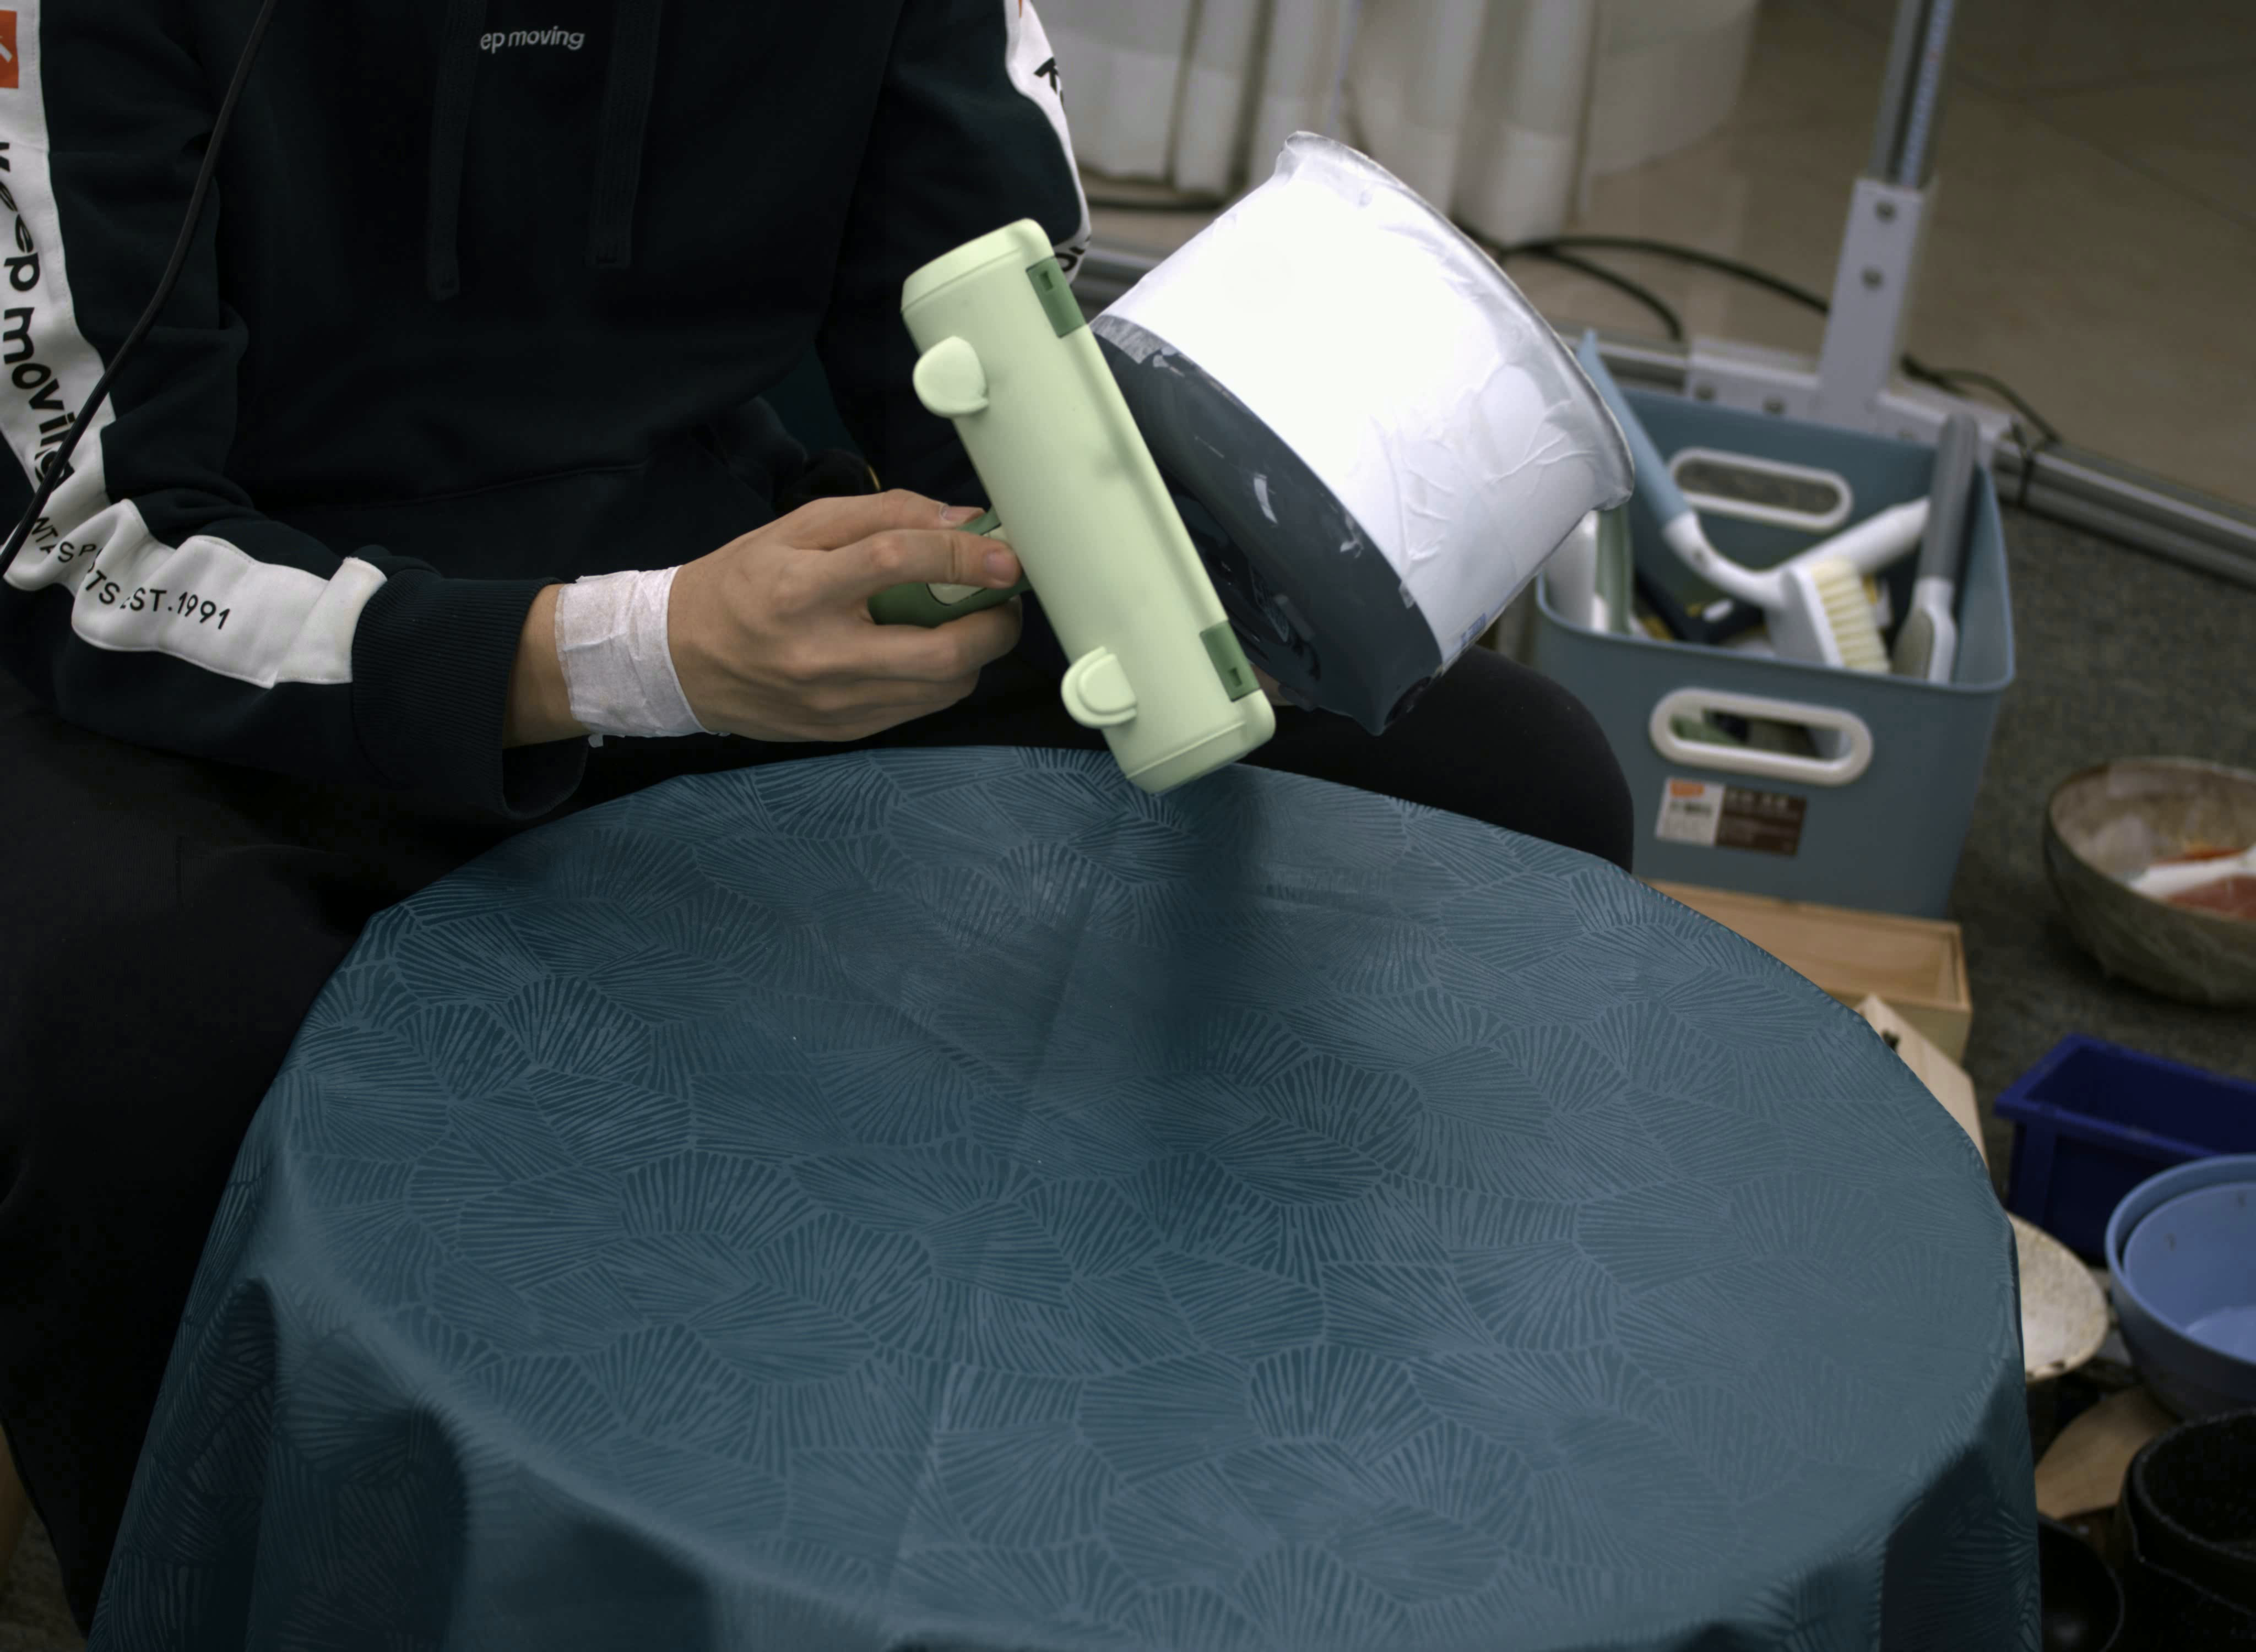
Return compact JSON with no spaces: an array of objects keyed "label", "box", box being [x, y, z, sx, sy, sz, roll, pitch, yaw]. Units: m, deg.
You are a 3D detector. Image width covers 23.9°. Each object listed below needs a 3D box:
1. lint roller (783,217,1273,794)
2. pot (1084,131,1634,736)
[{"label":"lint roller","box":[-0.062,-0.085,1.827,0.183,0.199,0.082,-26,0,30]},{"label":"pot","box":[0.073,-0.130,1.912,0.136,0.233,0.179,-43,77,-8]}]
